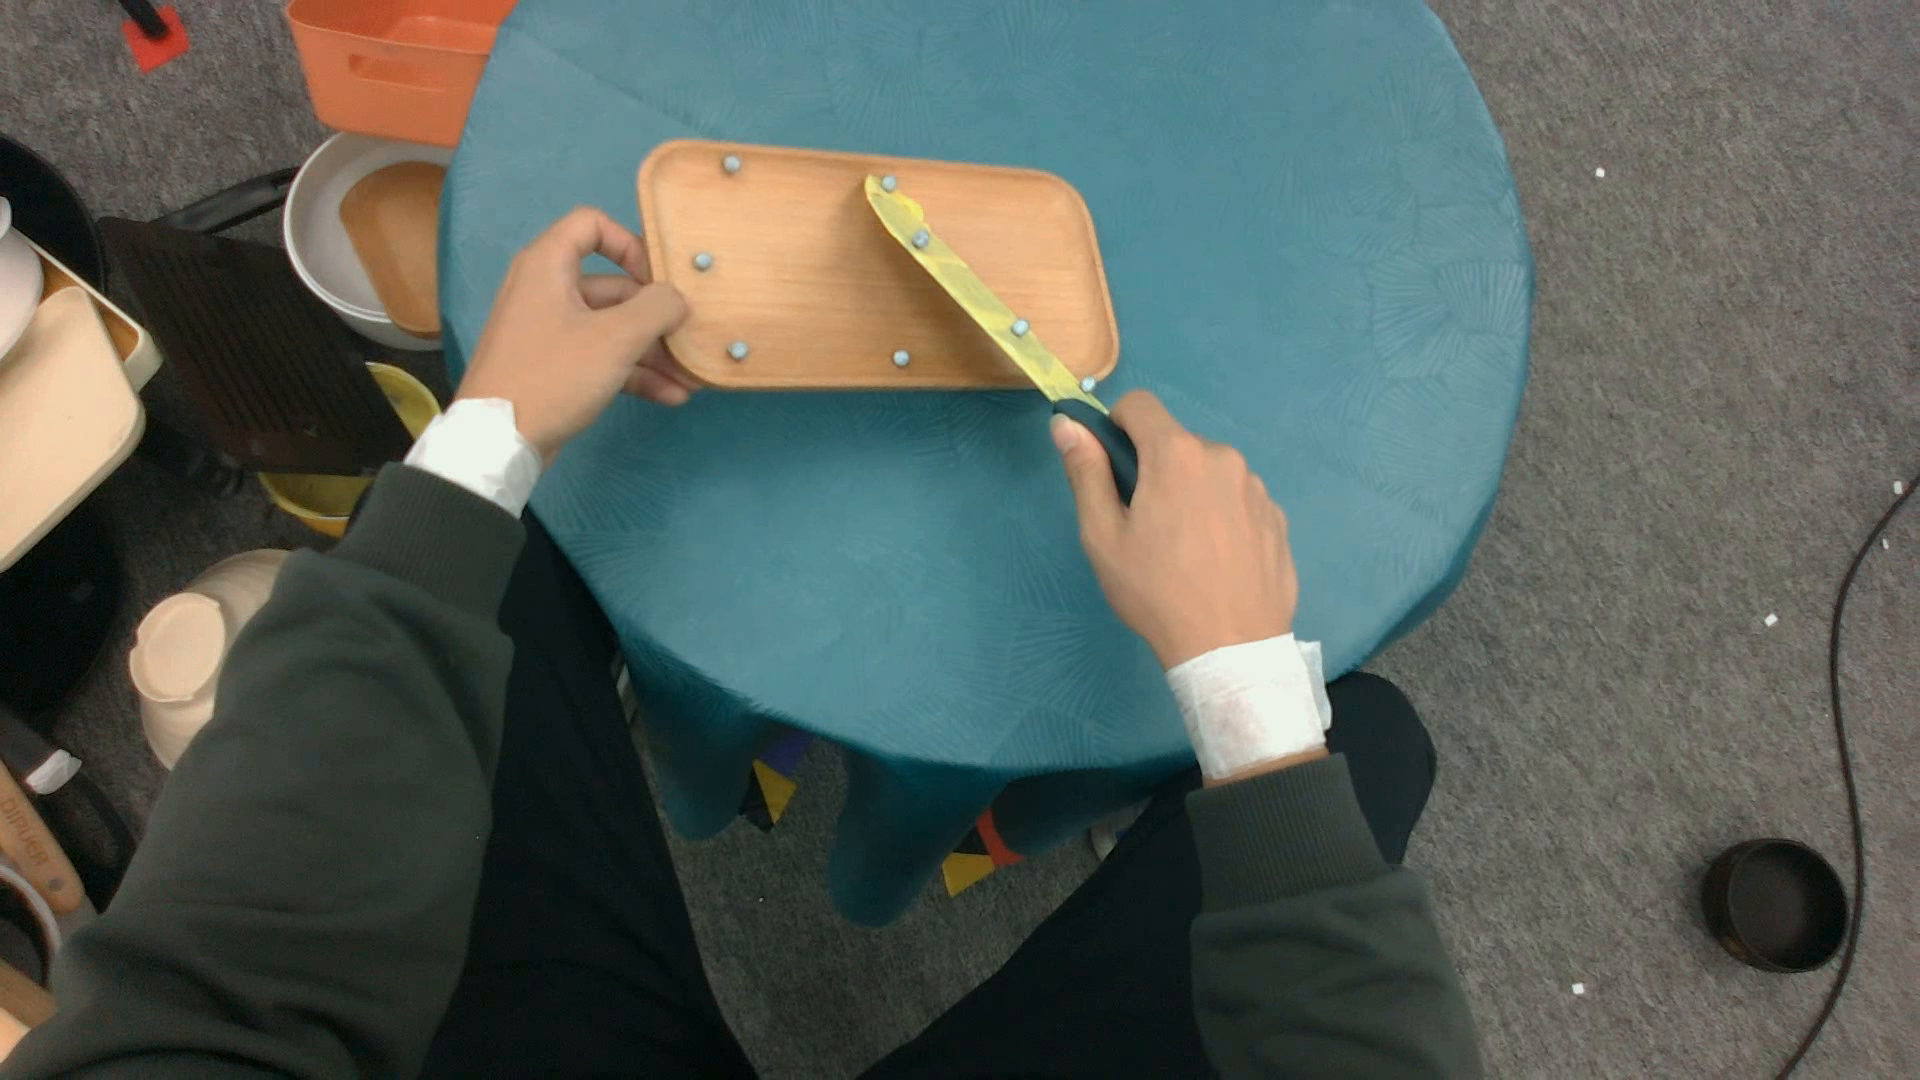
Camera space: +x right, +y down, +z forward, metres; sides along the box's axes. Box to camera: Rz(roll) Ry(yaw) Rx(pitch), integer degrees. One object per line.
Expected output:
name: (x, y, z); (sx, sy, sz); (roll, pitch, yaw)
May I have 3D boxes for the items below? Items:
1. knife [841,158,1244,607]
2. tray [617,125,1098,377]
knife: (0.036, -0.082, 0.665); (0.027, 0.081, 0.289); (-44, 82, 21)
tray: (-0.045, -0.143, 0.695); (0.251, 0.023, 0.131); (-4, 77, -30)
